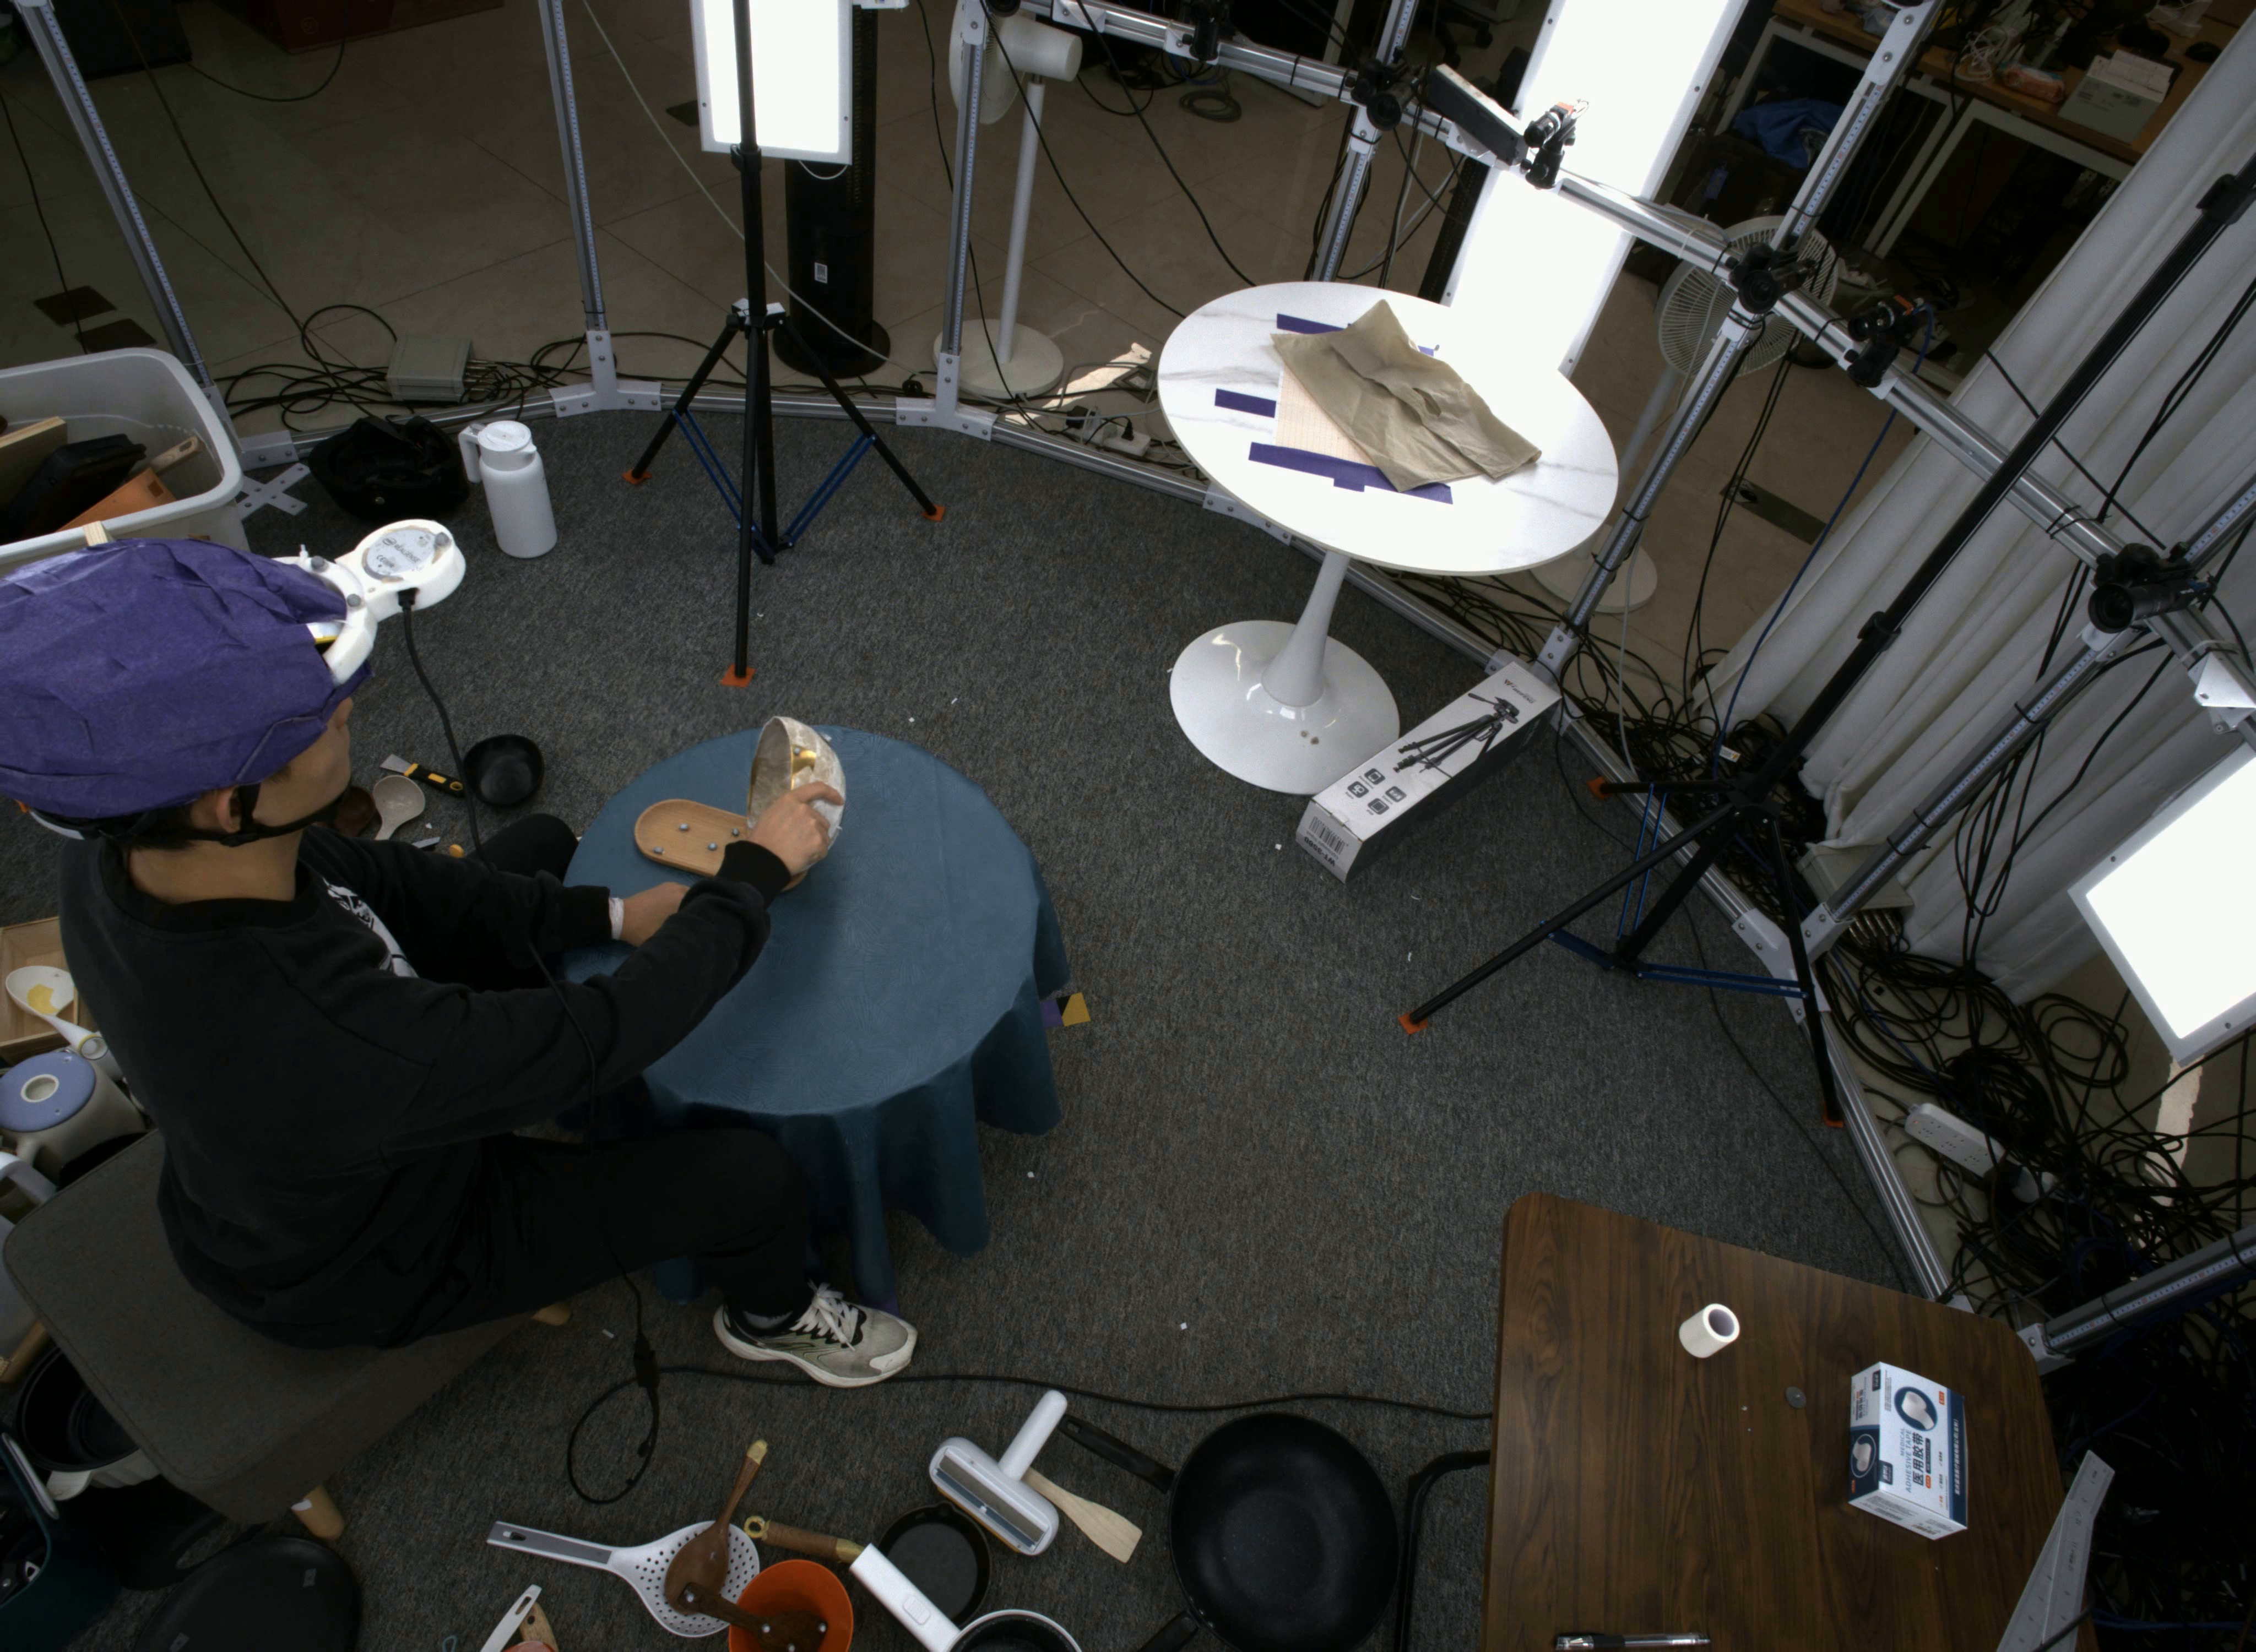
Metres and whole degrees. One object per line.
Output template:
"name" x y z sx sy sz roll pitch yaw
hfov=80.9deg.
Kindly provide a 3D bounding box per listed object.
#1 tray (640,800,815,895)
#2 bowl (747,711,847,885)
"tray" -0.520 0.026 1.675 0.230 0.020 0.100 17 53 -5
"bowl" -0.410 -0.032 1.631 0.096 0.216 0.209 4 50 -31
